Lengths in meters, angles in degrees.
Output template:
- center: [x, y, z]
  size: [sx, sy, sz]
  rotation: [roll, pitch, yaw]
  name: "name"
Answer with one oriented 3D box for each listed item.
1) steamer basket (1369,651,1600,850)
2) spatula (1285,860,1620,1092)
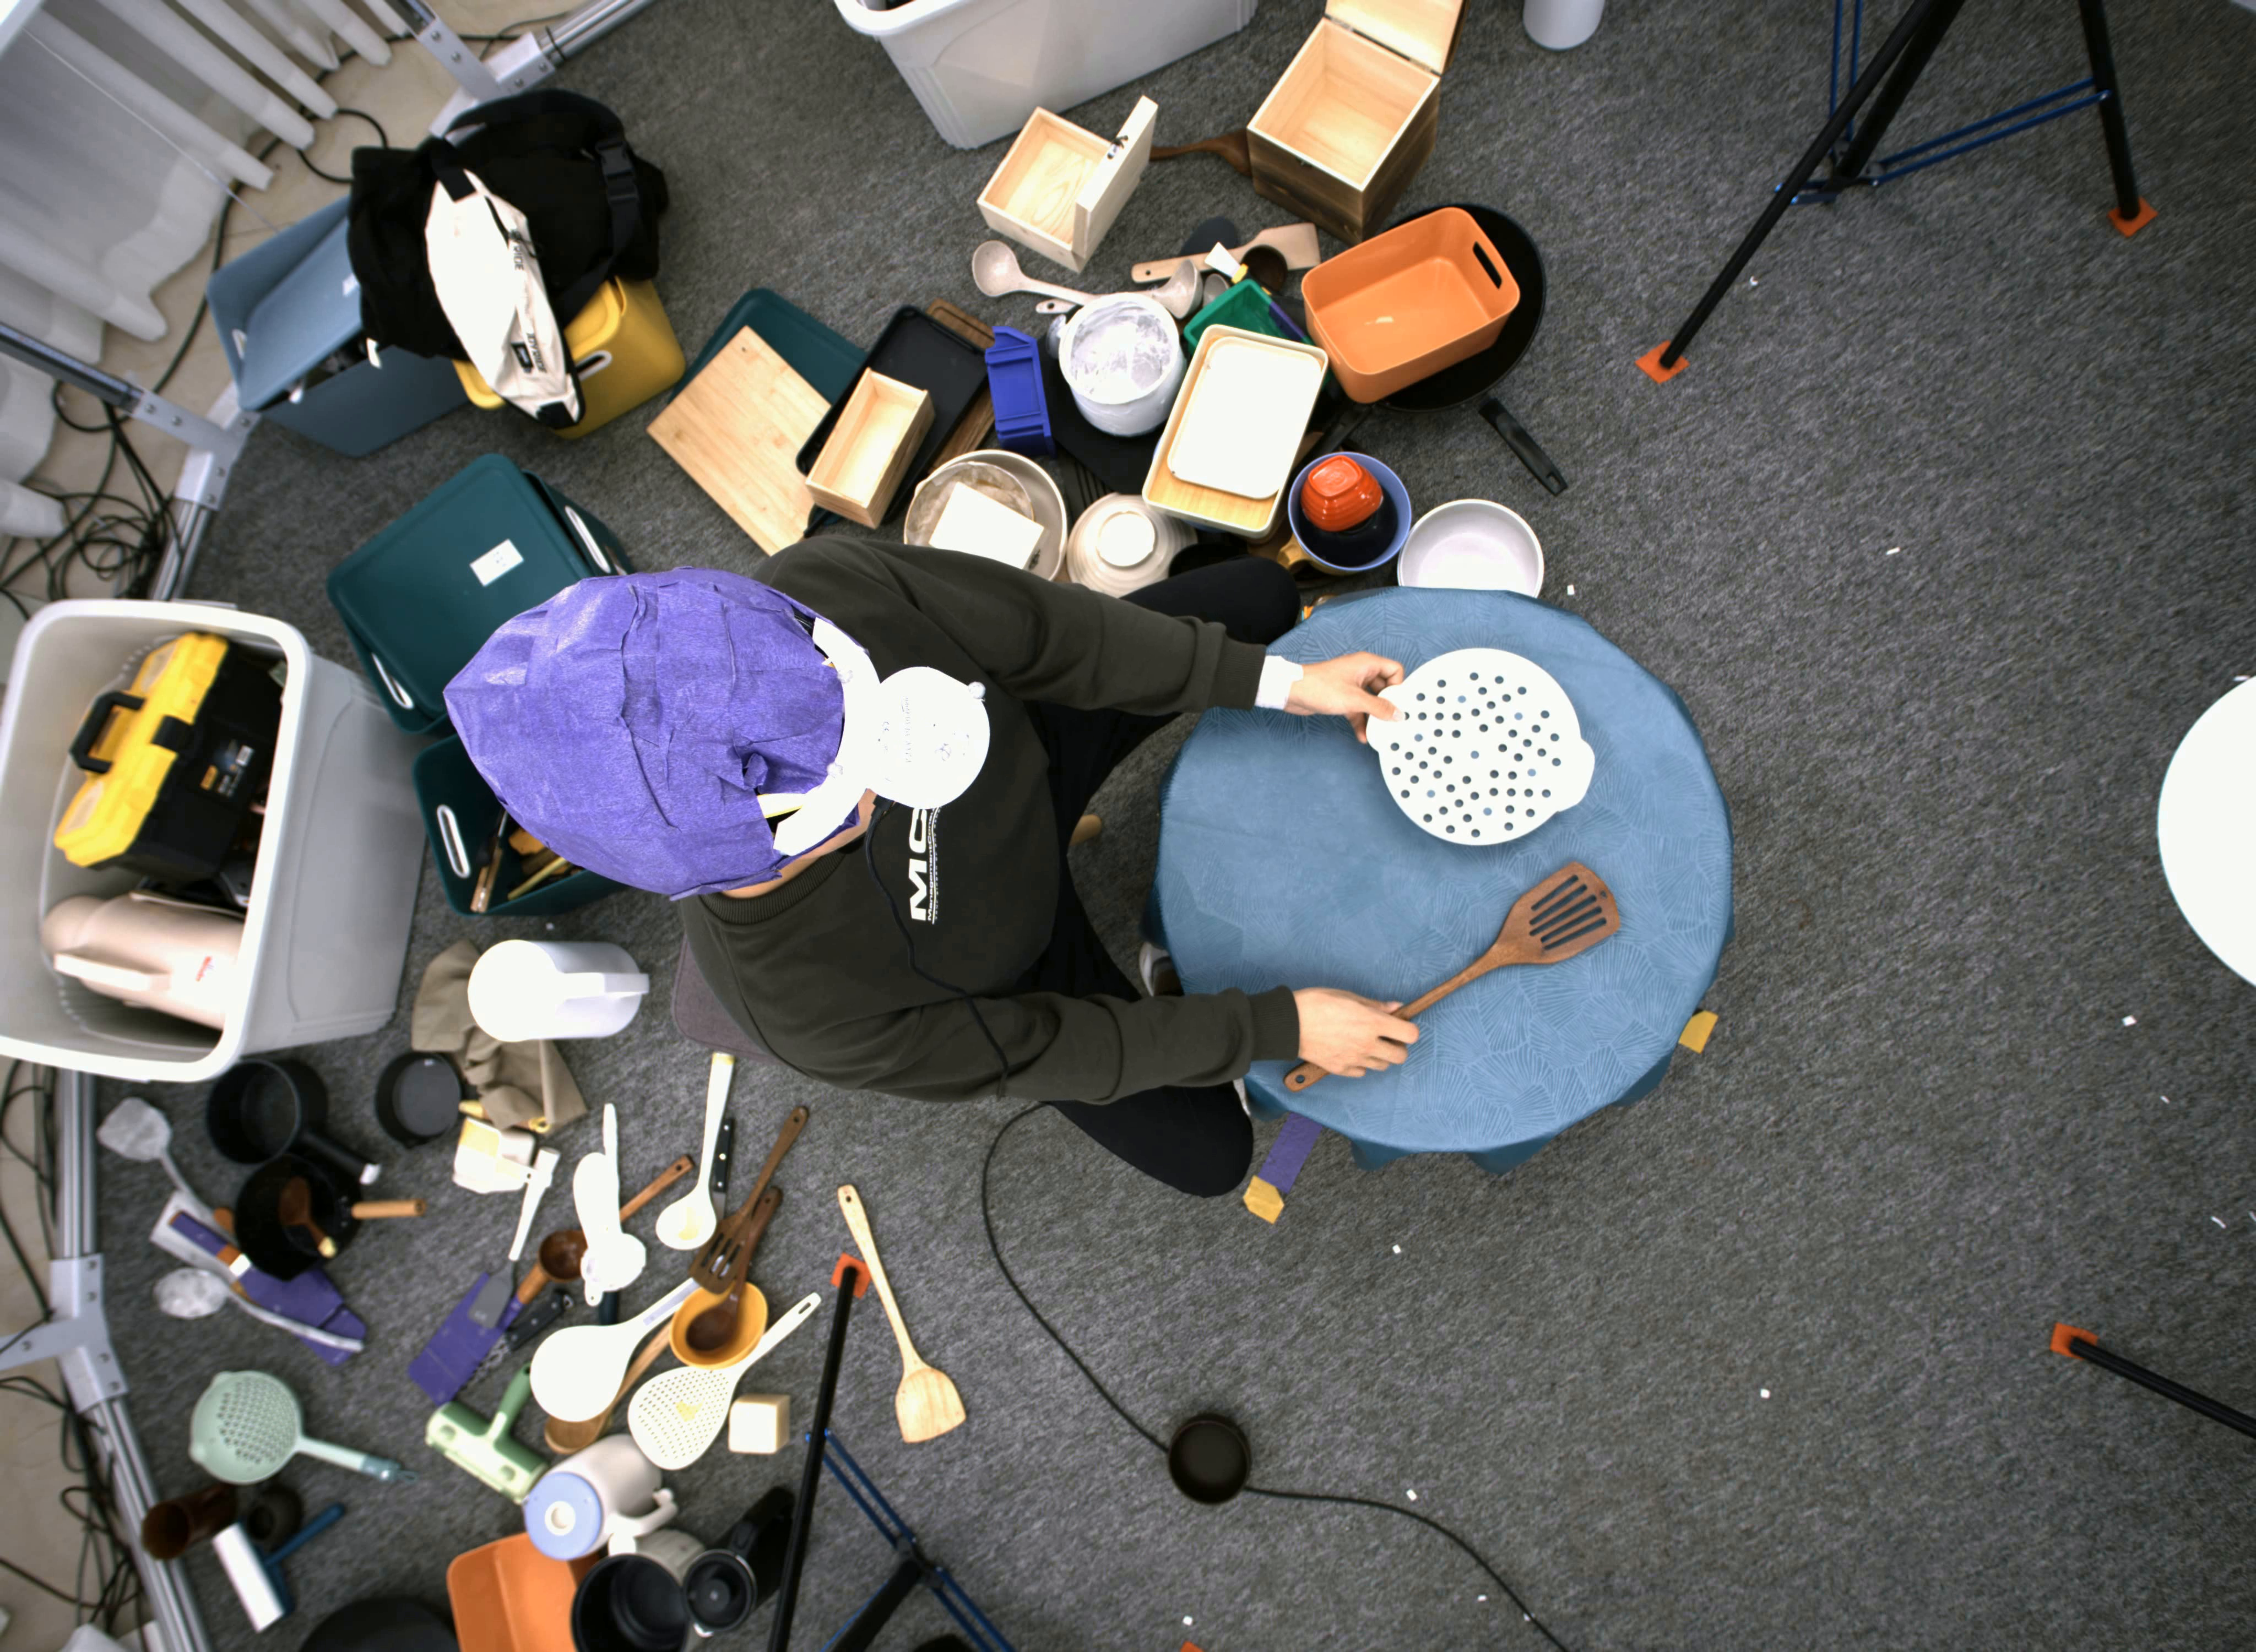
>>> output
- center: [0.366, -0.078, 1.419]
  size: [0.230, 0.069, 0.201]
  rotation: [18, 88, 14]
  name: "steamer basket"
- center: [0.328, 0.166, 1.425]
  size: [0.386, 0.024, 0.085]
  rotation: [-33, 83, 4]
  name: "spatula"
